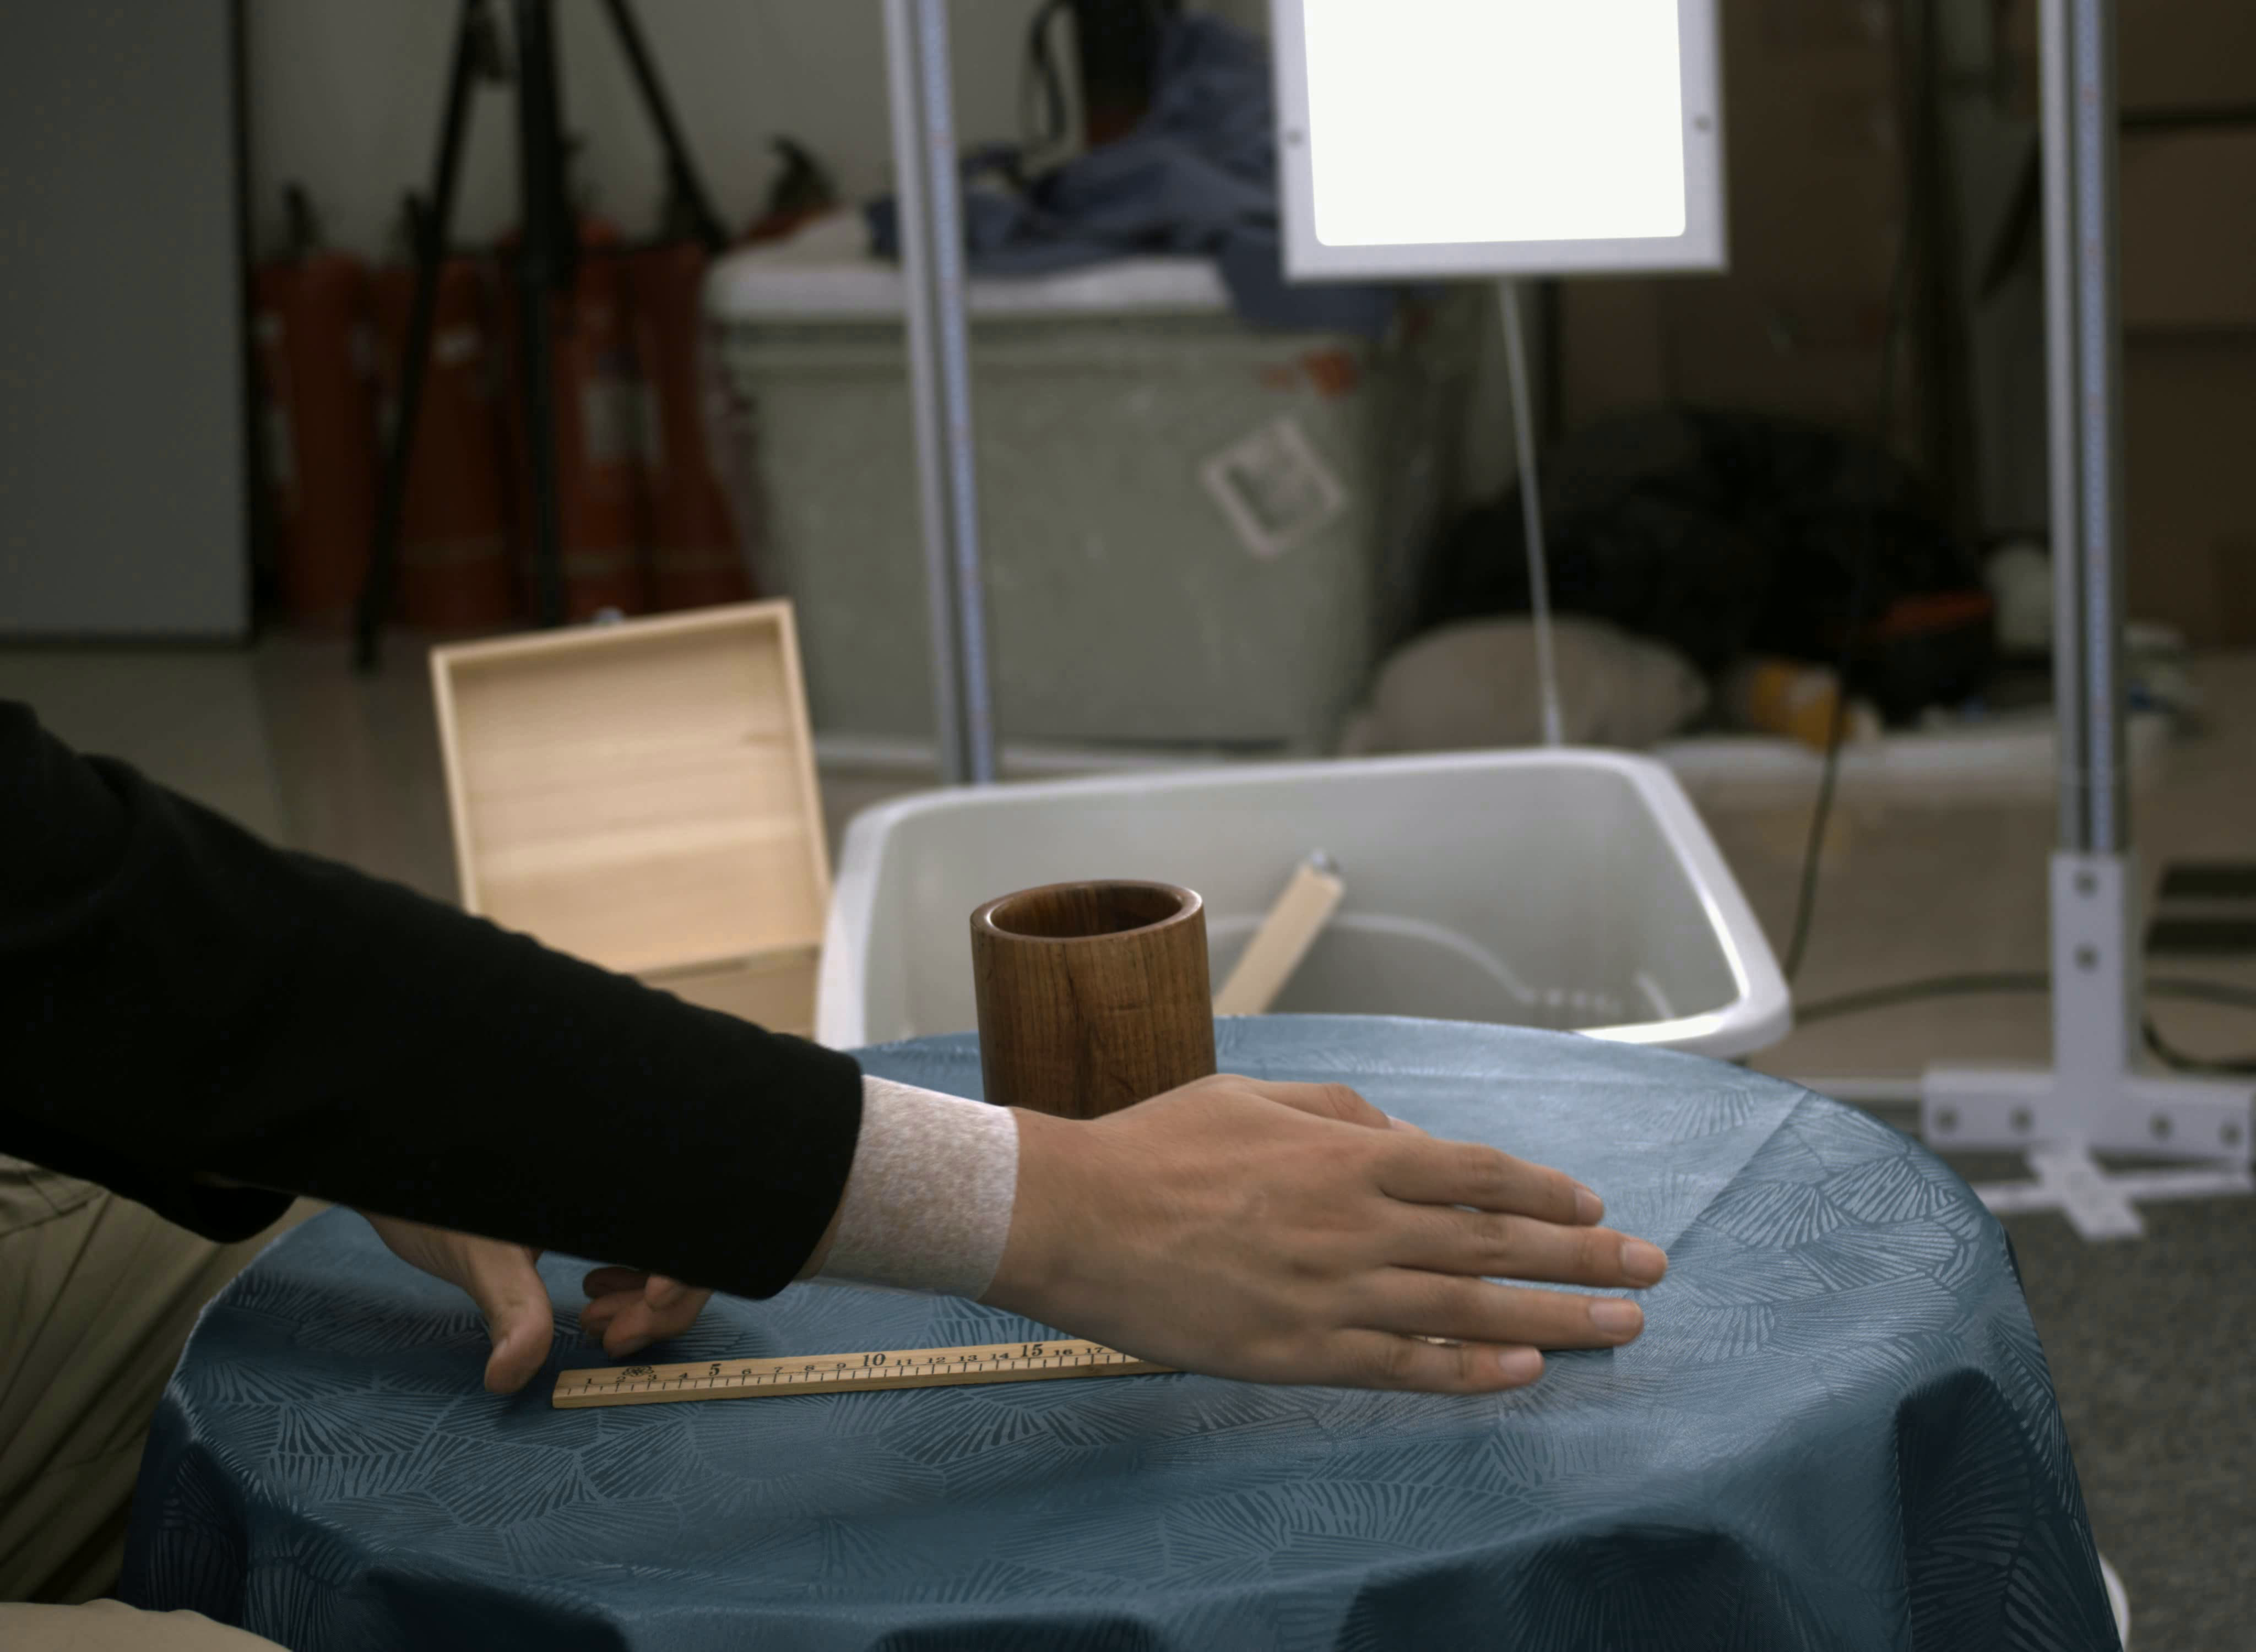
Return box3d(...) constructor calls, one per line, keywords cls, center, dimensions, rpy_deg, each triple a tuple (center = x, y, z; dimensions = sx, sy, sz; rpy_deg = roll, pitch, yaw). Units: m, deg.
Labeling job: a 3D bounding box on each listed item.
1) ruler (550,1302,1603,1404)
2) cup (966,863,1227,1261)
box3d(cls="ruler", center=(-0.017, 0.165, 1.728), dimensions=(0.333, 0.022, 0.027), rpy_deg=(-3, 7, 7))
box3d(cls="cup", center=(-0.009, 0.079, 1.852), dimensions=(0.087, 0.119, 0.087), rpy_deg=(-5, 13, 0))
